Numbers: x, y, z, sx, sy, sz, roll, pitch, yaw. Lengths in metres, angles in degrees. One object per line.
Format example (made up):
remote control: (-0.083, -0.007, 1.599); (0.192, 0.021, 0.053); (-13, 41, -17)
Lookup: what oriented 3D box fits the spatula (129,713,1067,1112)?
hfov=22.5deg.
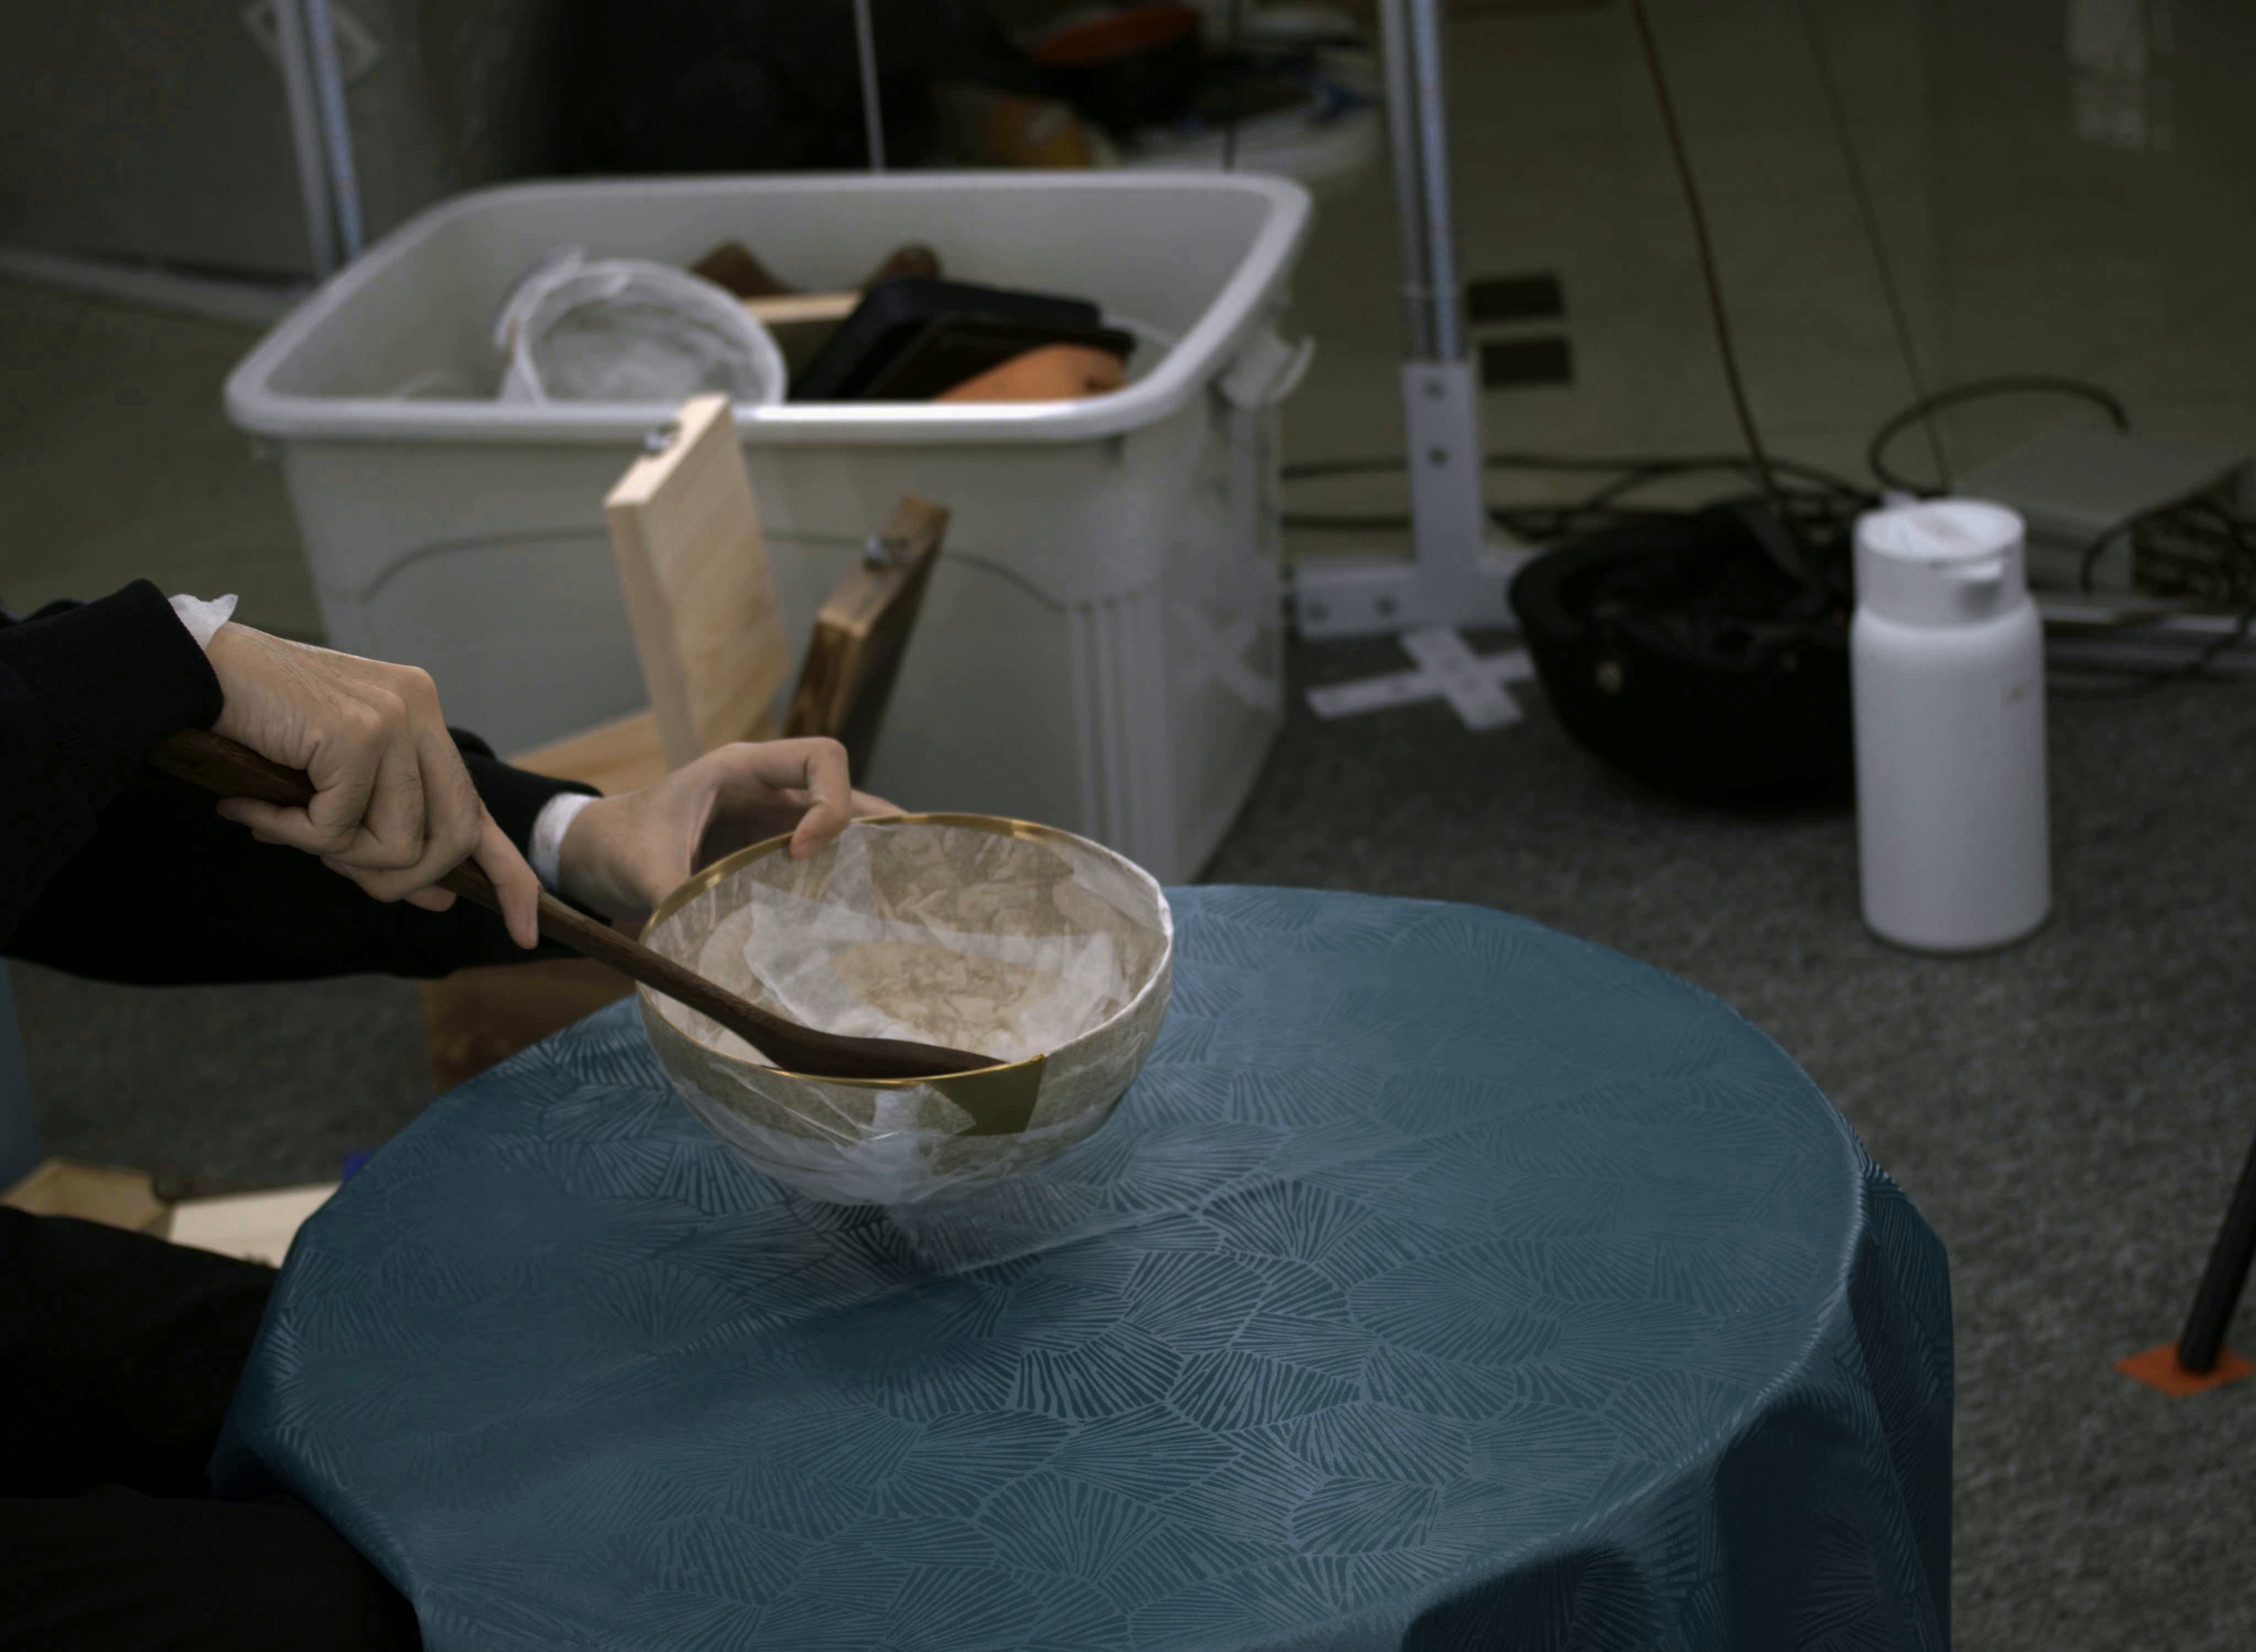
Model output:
spatula: (-0.185, 0.040, 1.984); (0.096, 0.389, 0.015); (-21, 50, 45)

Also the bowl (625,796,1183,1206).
bowl: (-0.081, 0.080, 2.131); (0.214, 0.096, 0.211); (-4, 31, 2)
